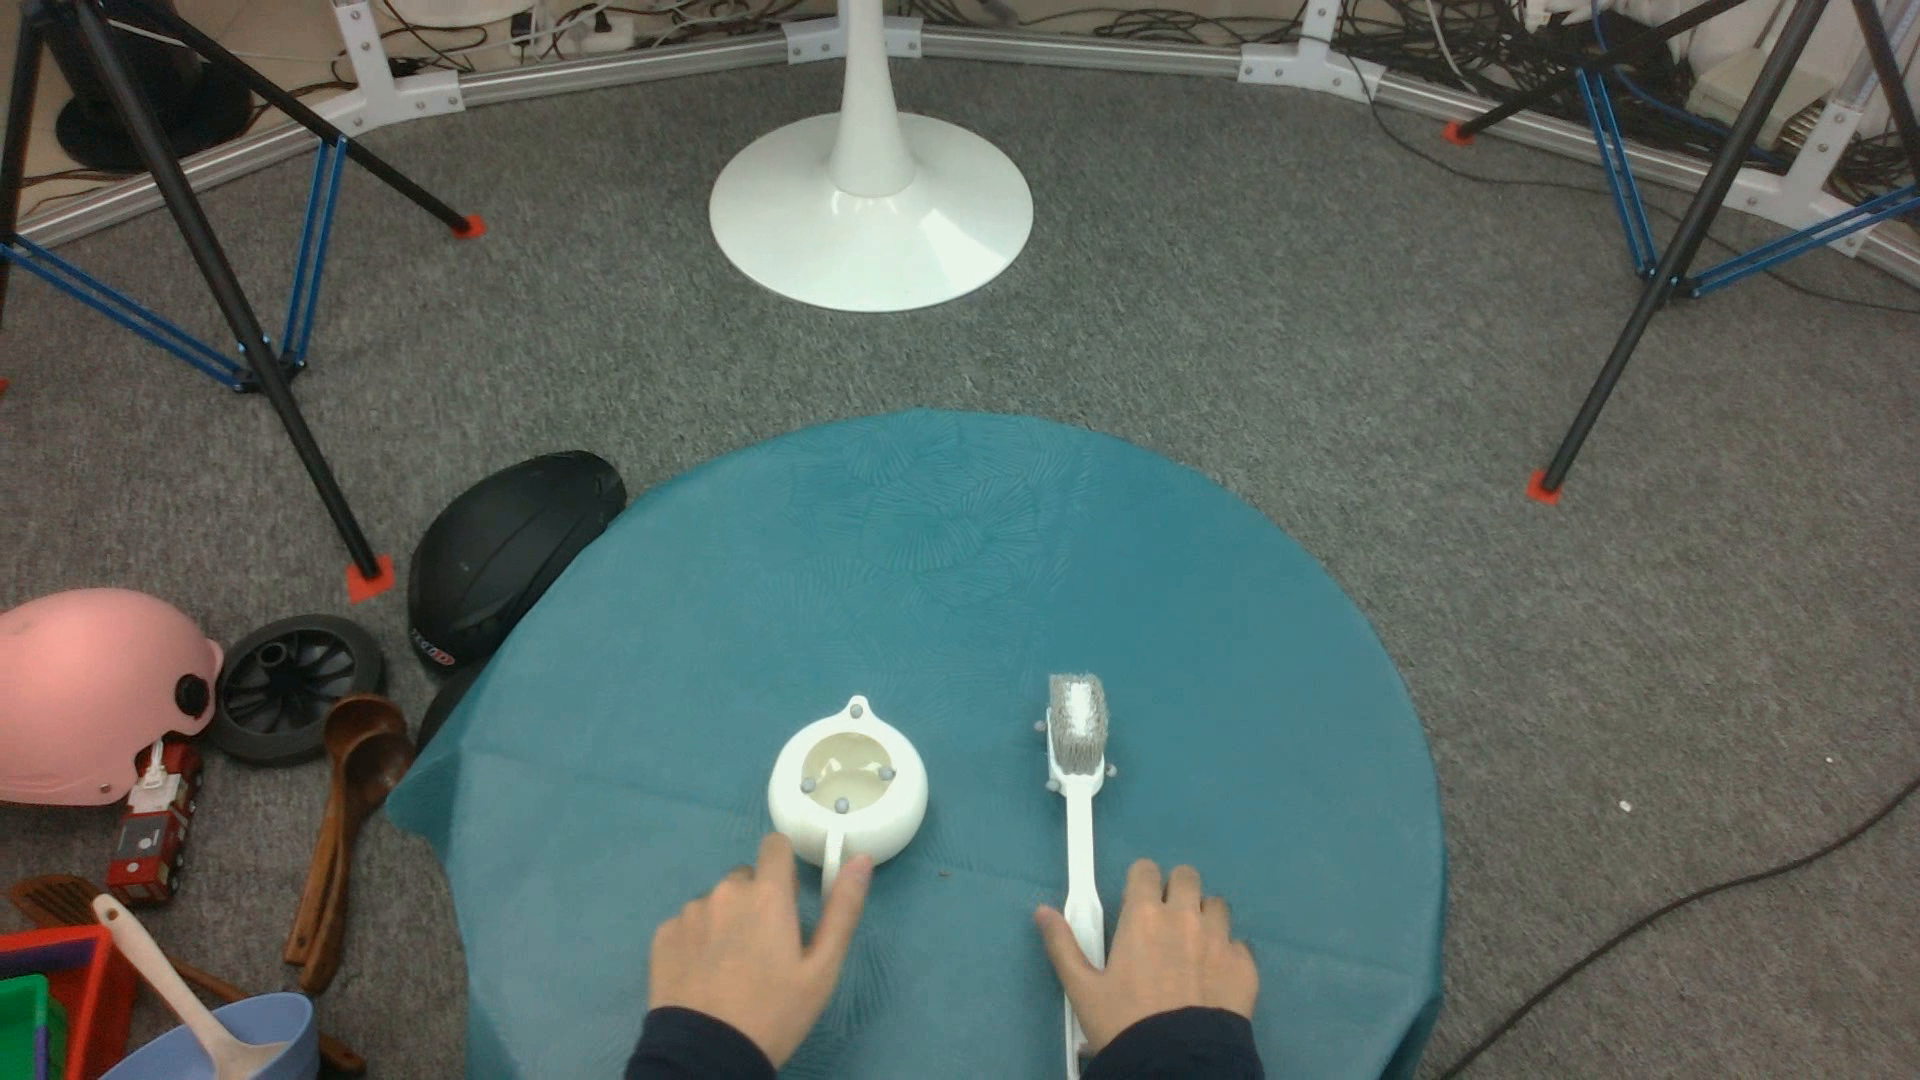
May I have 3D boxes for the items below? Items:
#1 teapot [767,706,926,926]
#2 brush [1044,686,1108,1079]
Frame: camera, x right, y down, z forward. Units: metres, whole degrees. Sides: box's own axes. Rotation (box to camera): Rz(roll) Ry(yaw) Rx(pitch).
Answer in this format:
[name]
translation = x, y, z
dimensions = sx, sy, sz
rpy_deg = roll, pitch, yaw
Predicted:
[teapot]
translation = -0.067, 0.163, 0.809
dimensions = 0.093, 0.056, 0.128
rpy_deg = 5, 51, -4
[brush]
translation = 0.066, 0.190, 0.793
dimensions = 0.034, 0.050, 0.245
rpy_deg = 7, 49, -2
